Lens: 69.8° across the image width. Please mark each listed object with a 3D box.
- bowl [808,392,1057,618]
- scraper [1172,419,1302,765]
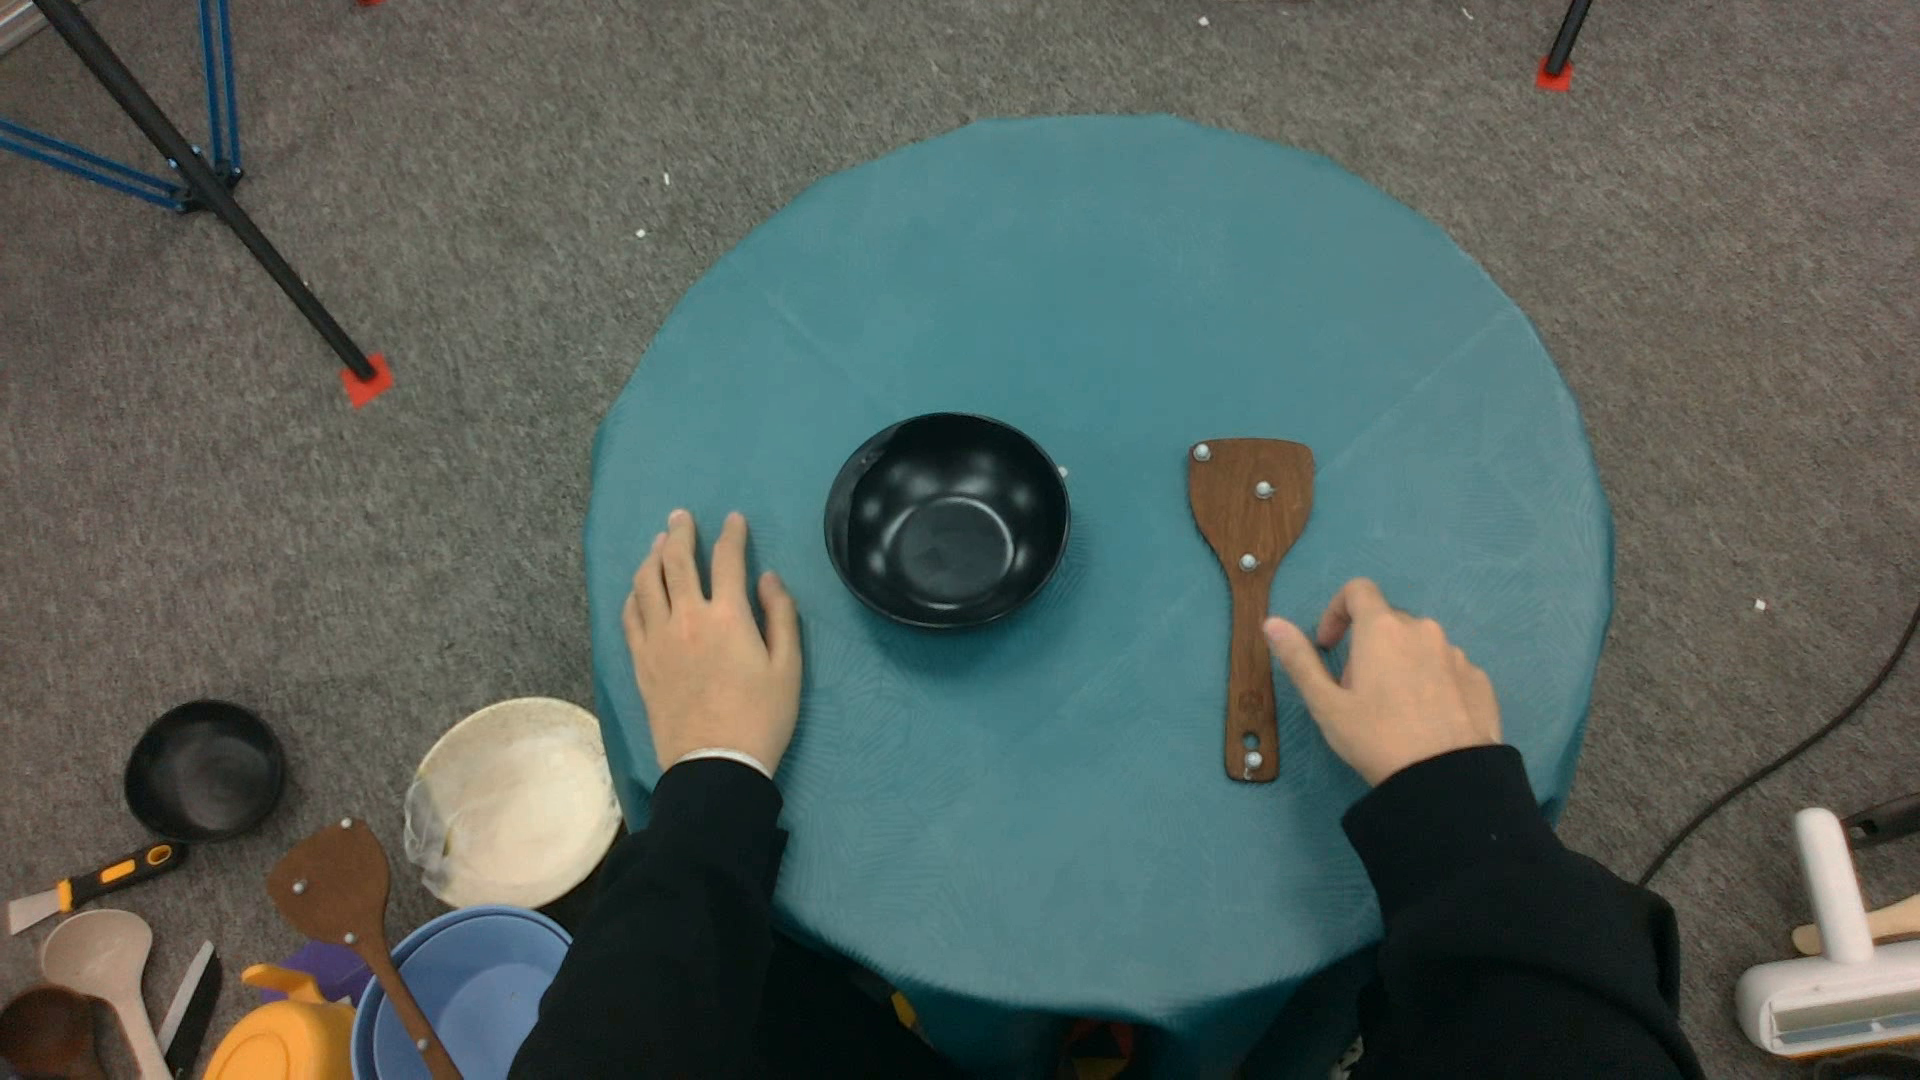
[{"bbox_3d":[-0.015,-0.013,0.783,0.140,0.049,0.140,0,64,0],"label":"bowl"},{"bbox_3d":[0.156,0.024,0.776,0.076,0.011,0.212,2,64,6],"label":"scraper"}]
